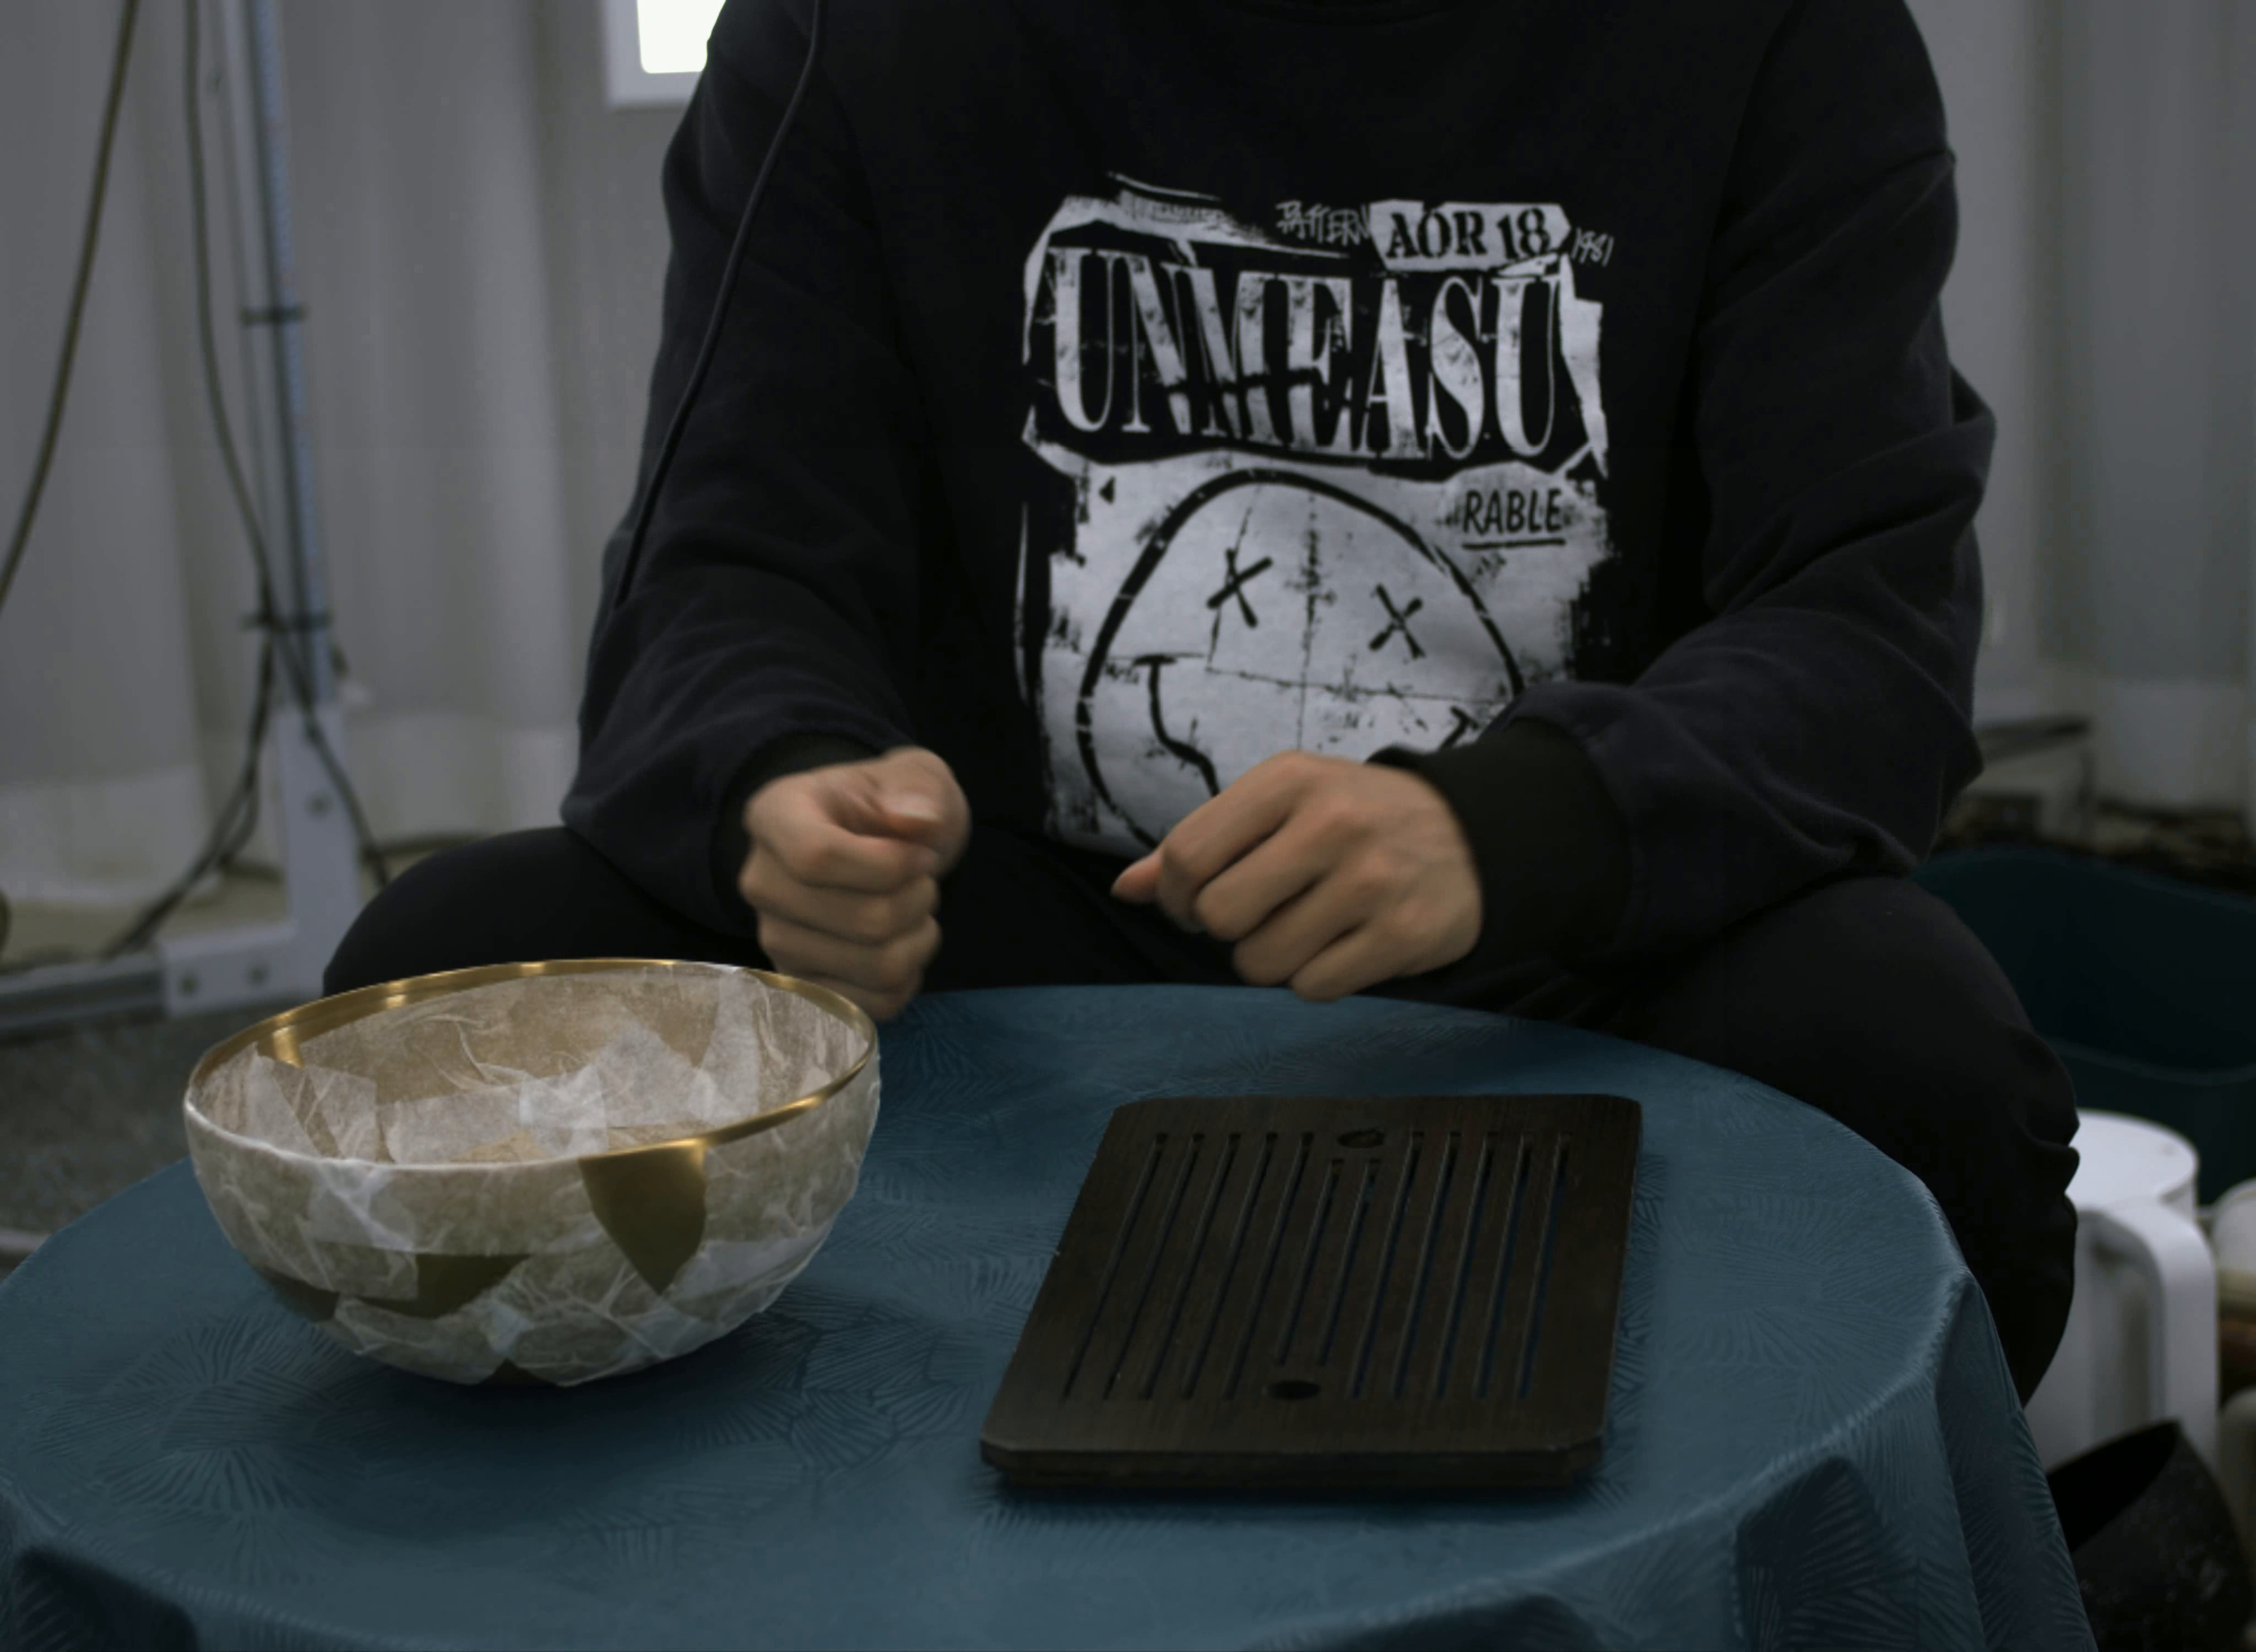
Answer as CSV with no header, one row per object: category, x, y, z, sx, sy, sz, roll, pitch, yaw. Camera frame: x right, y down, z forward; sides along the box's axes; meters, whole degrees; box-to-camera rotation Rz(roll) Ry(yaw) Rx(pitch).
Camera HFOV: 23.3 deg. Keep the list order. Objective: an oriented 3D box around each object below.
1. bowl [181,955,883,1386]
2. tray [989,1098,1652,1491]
bowl,-0.166,0.108,1.593,0.214,0.094,0.216,-4,14,1
tray,0.064,0.134,1.596,0.170,0.018,0.307,-1,15,8
